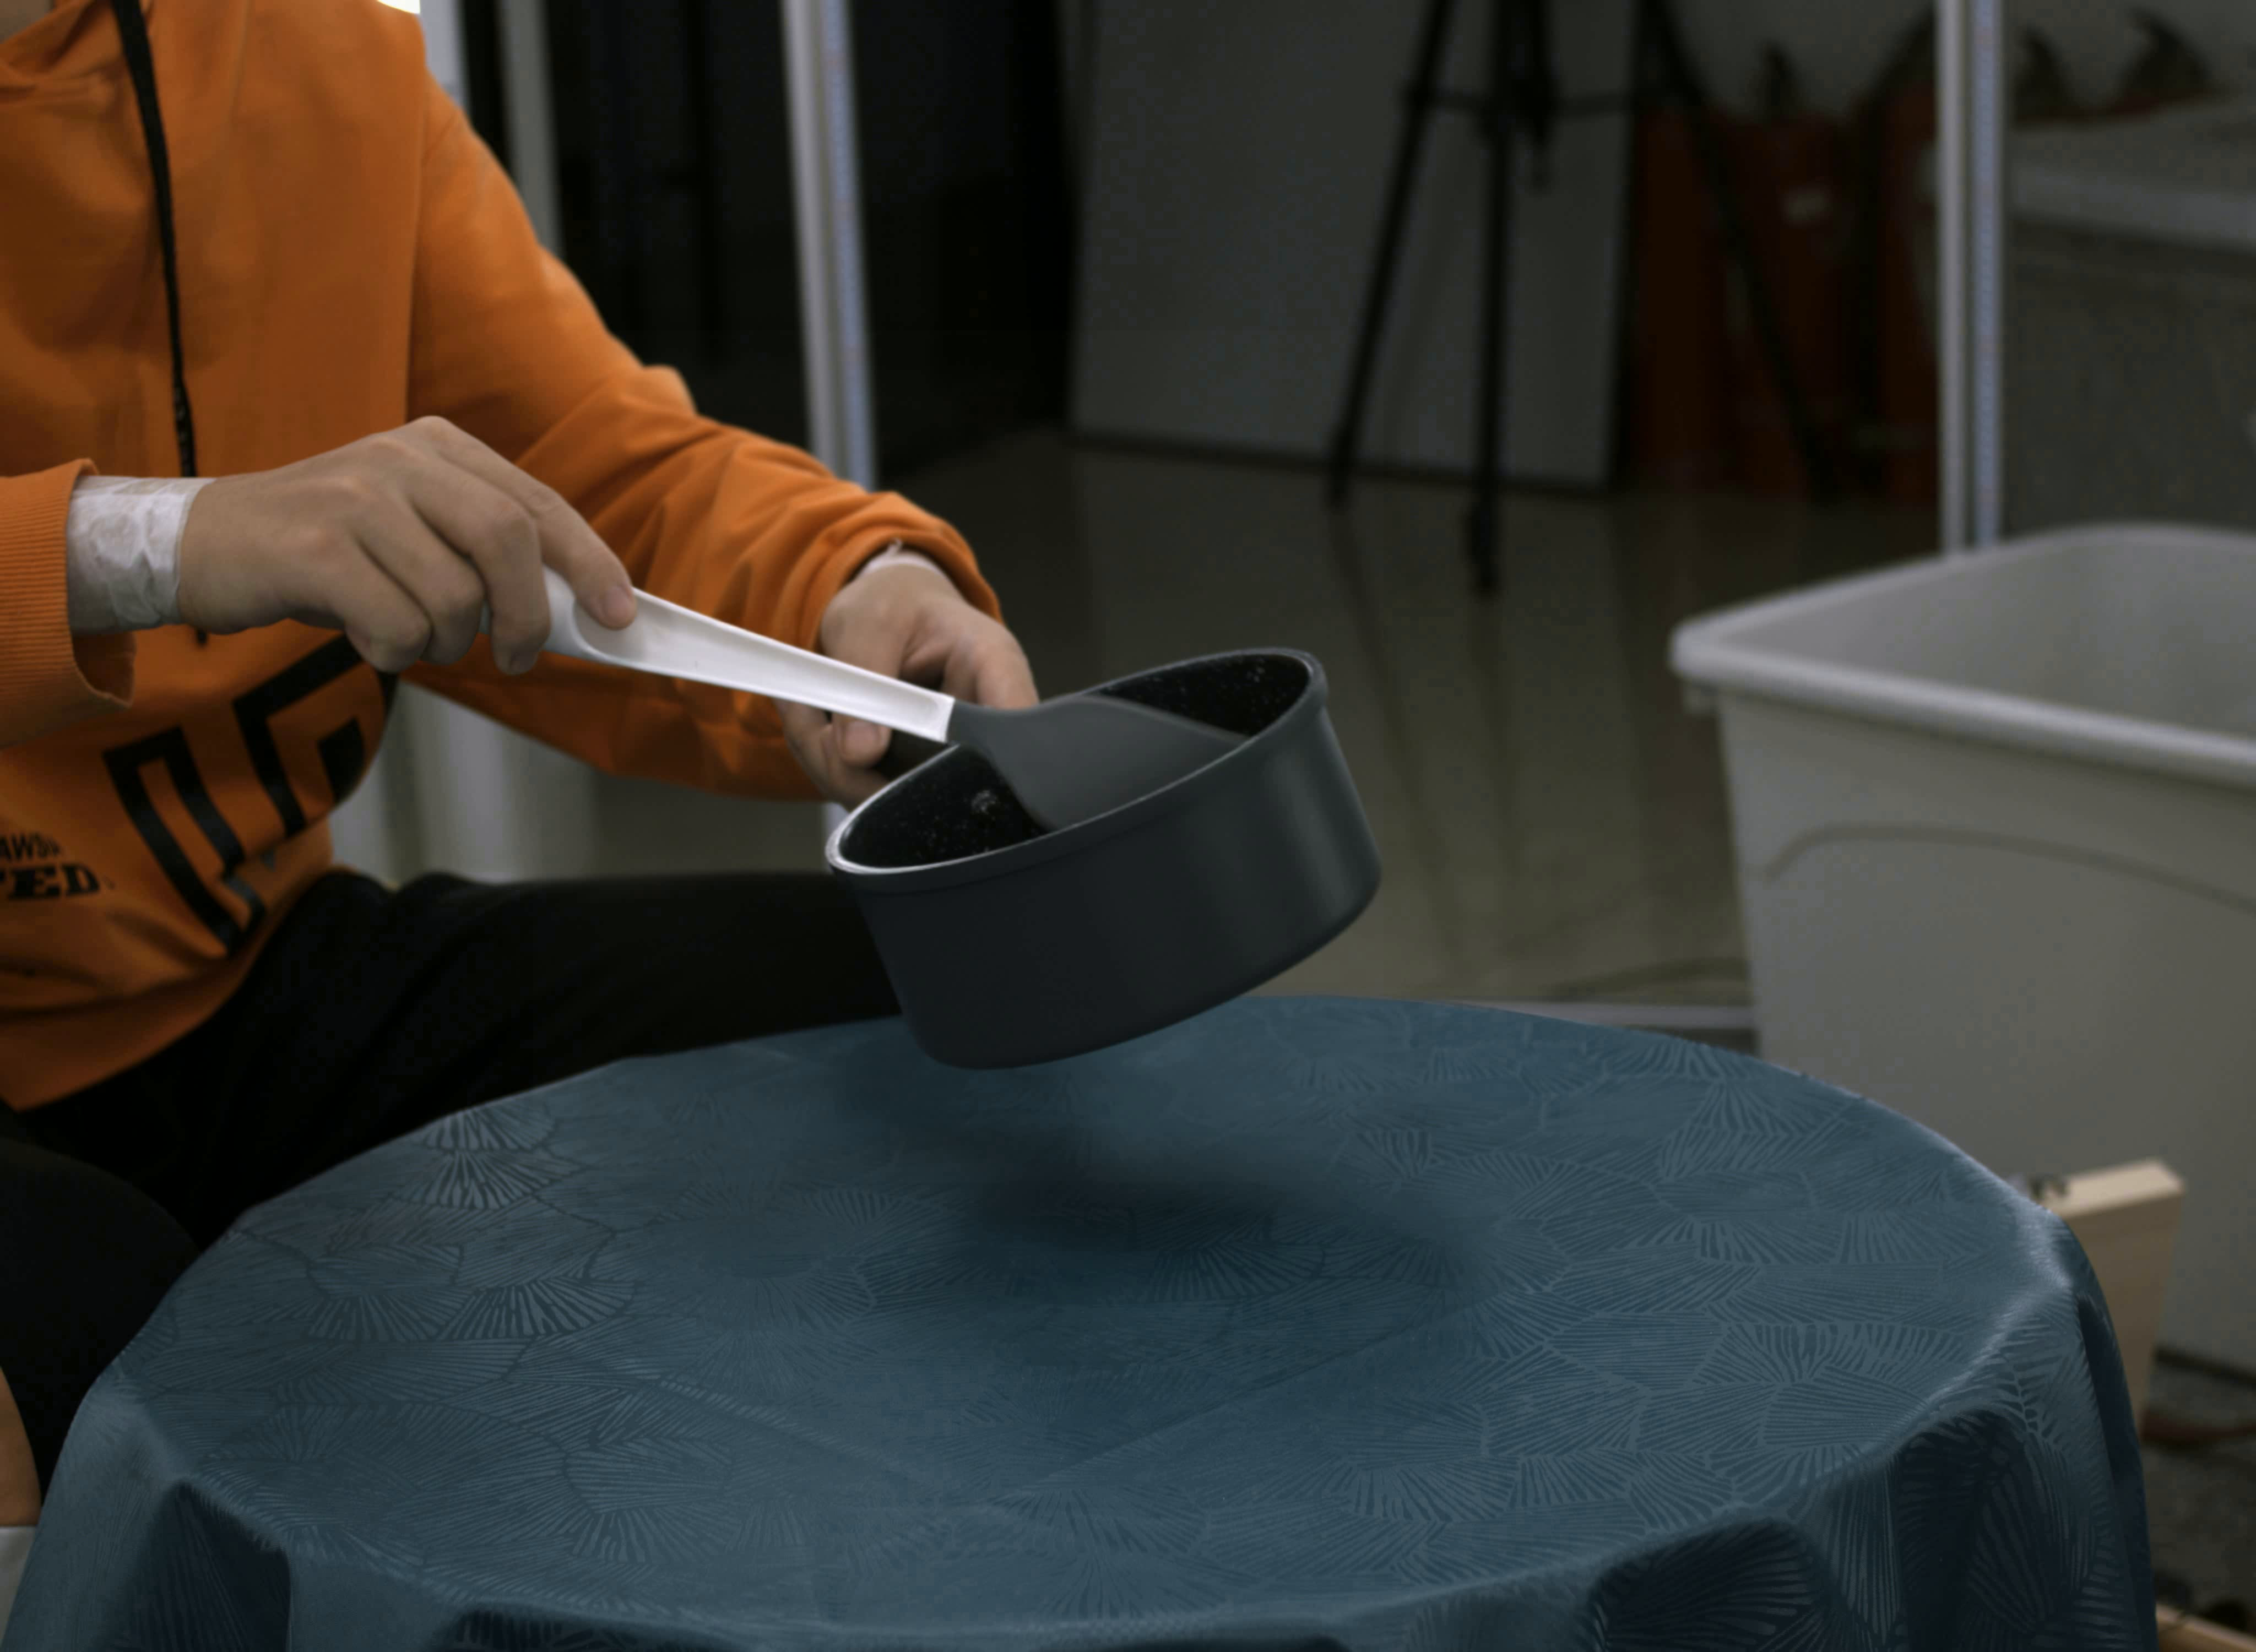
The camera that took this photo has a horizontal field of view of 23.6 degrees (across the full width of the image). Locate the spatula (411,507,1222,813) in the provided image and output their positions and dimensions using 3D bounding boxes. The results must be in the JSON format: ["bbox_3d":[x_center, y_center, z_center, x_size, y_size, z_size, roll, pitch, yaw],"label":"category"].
[{"bbox_3d":[-0.089,-0.043,1.720,0.285,0.059,0.032,18,-18,3],"label":"spatula"}]

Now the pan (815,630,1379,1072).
[{"bbox_3d":[-0.034,-0.002,1.804,0.169,0.087,0.331,-25,15,-15],"label":"pan"}]
